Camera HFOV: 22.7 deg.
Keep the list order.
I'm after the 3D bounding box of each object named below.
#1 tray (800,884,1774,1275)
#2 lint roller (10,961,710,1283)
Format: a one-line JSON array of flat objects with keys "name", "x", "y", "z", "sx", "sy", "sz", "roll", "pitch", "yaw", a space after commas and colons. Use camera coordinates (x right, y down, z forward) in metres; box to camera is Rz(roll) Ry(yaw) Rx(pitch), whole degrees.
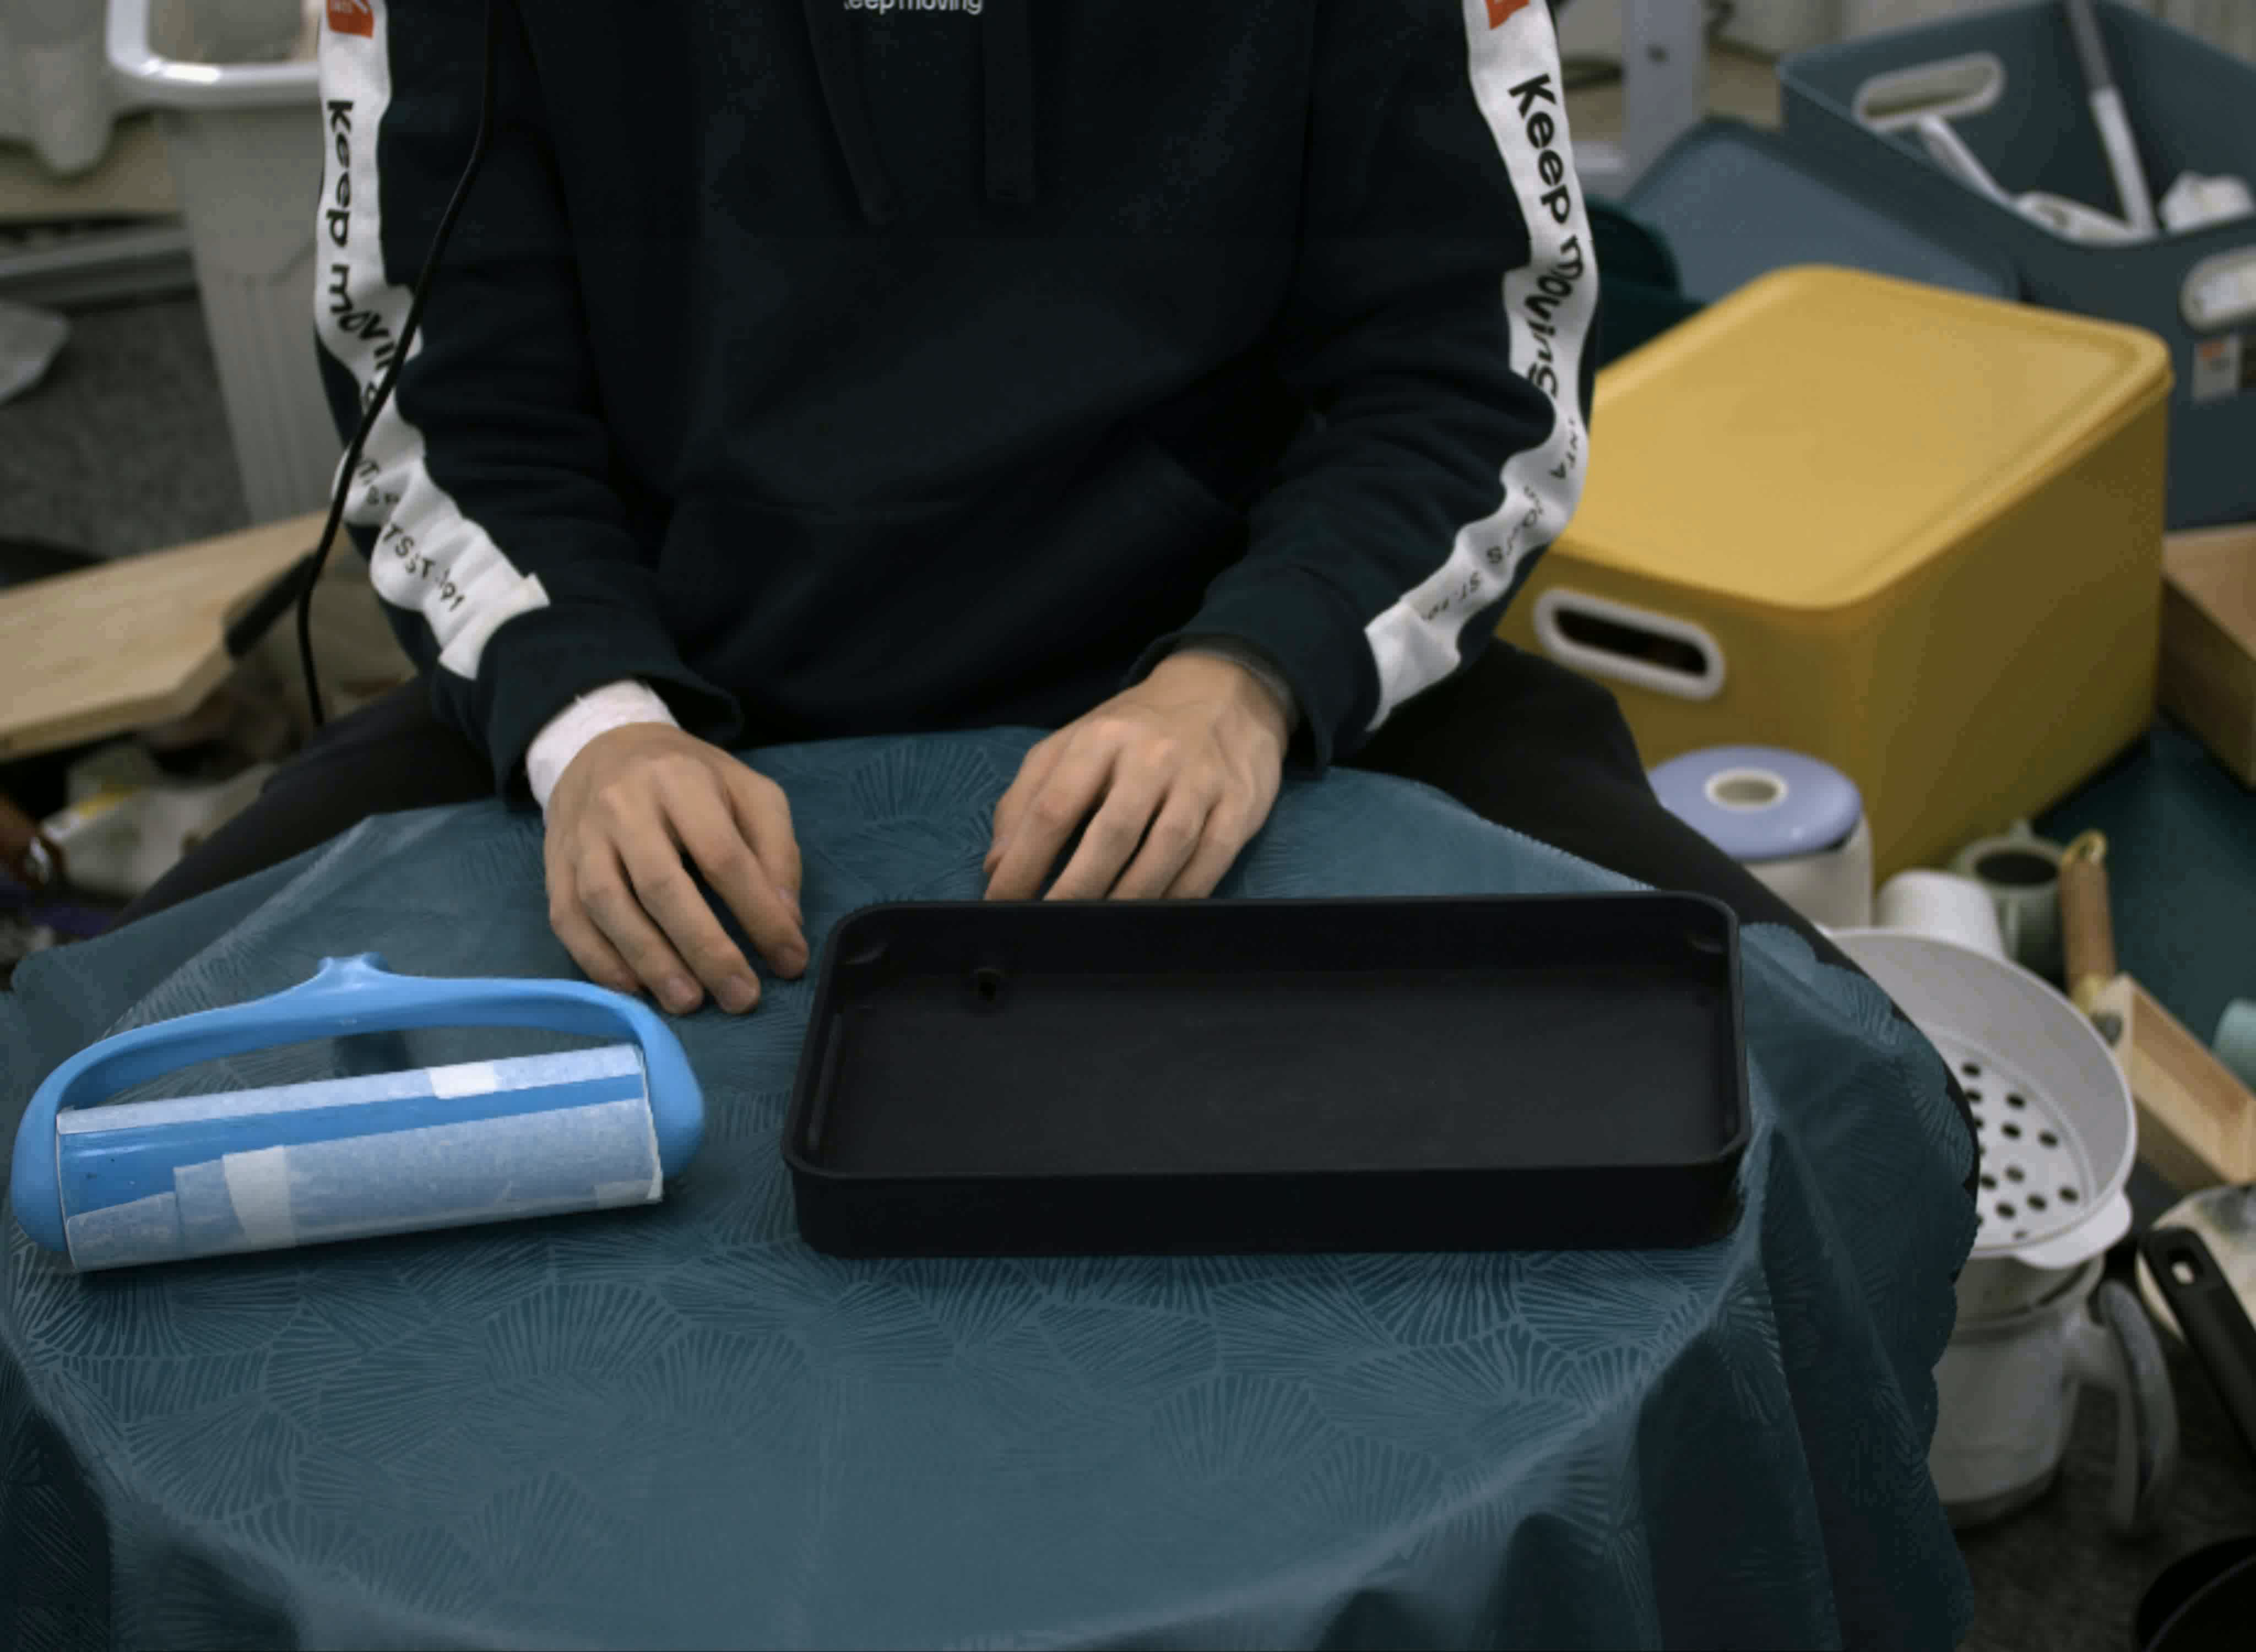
[{"name": "tray", "x": 0.055, "y": 0.084, "z": 1.892, "sx": 0.316, "sy": 0.036, "sz": 0.187, "roll": -3, "pitch": 27, "yaw": 4}, {"name": "lint roller", "x": -0.263, "y": 0.082, "z": 1.901, "sx": 0.228, "sy": 0.067, "sz": 0.182, "roll": -9, "pitch": 30, "yaw": -8}]
